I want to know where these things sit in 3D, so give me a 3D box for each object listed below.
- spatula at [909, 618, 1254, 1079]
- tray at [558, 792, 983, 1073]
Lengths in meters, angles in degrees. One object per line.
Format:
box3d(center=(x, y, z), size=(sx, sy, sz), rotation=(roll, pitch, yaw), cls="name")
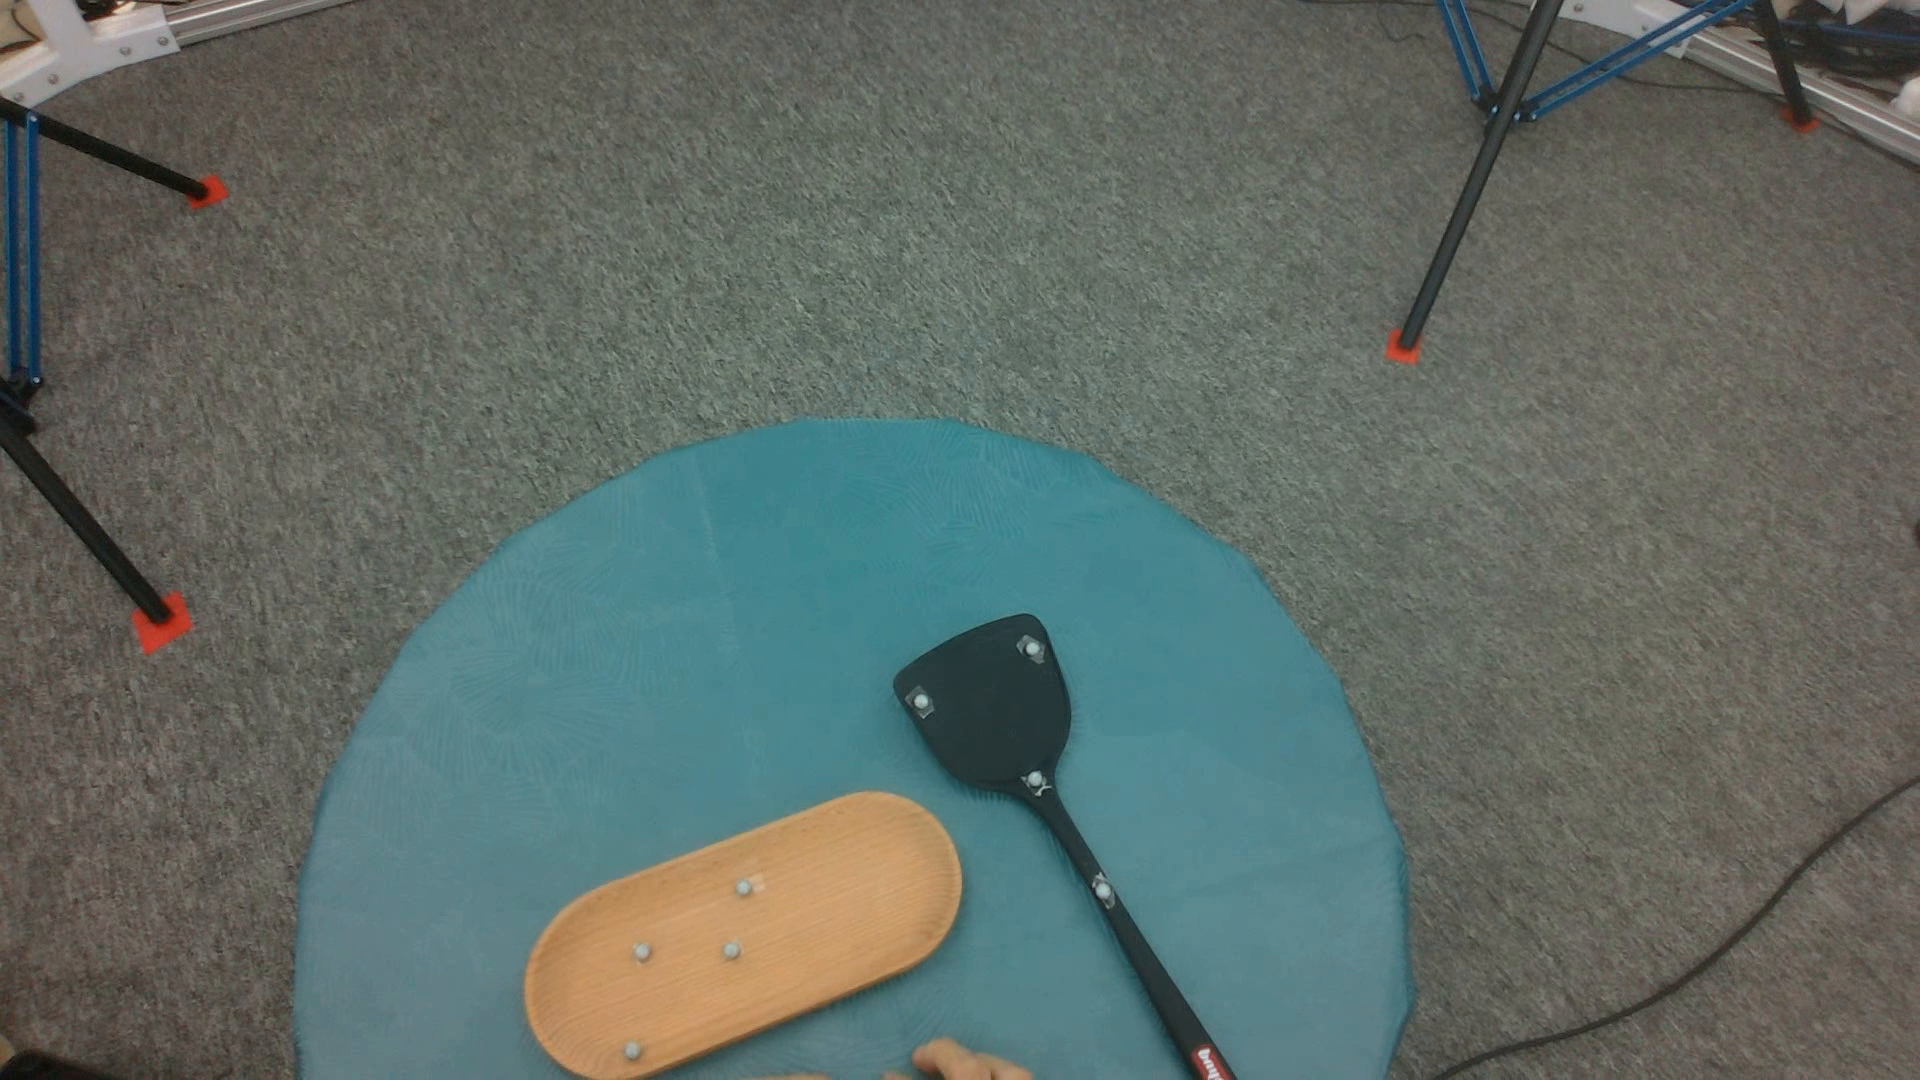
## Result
box3d(center=(0.086, 0.189, 0.746), size=(0.100, 0.040, 0.327), rotation=(-25, 61, -15), cls="spatula")
box3d(center=(-0.099, 0.208, 0.740), size=(0.231, 0.020, 0.102), rotation=(-18, 59, -14), cls="tray")
